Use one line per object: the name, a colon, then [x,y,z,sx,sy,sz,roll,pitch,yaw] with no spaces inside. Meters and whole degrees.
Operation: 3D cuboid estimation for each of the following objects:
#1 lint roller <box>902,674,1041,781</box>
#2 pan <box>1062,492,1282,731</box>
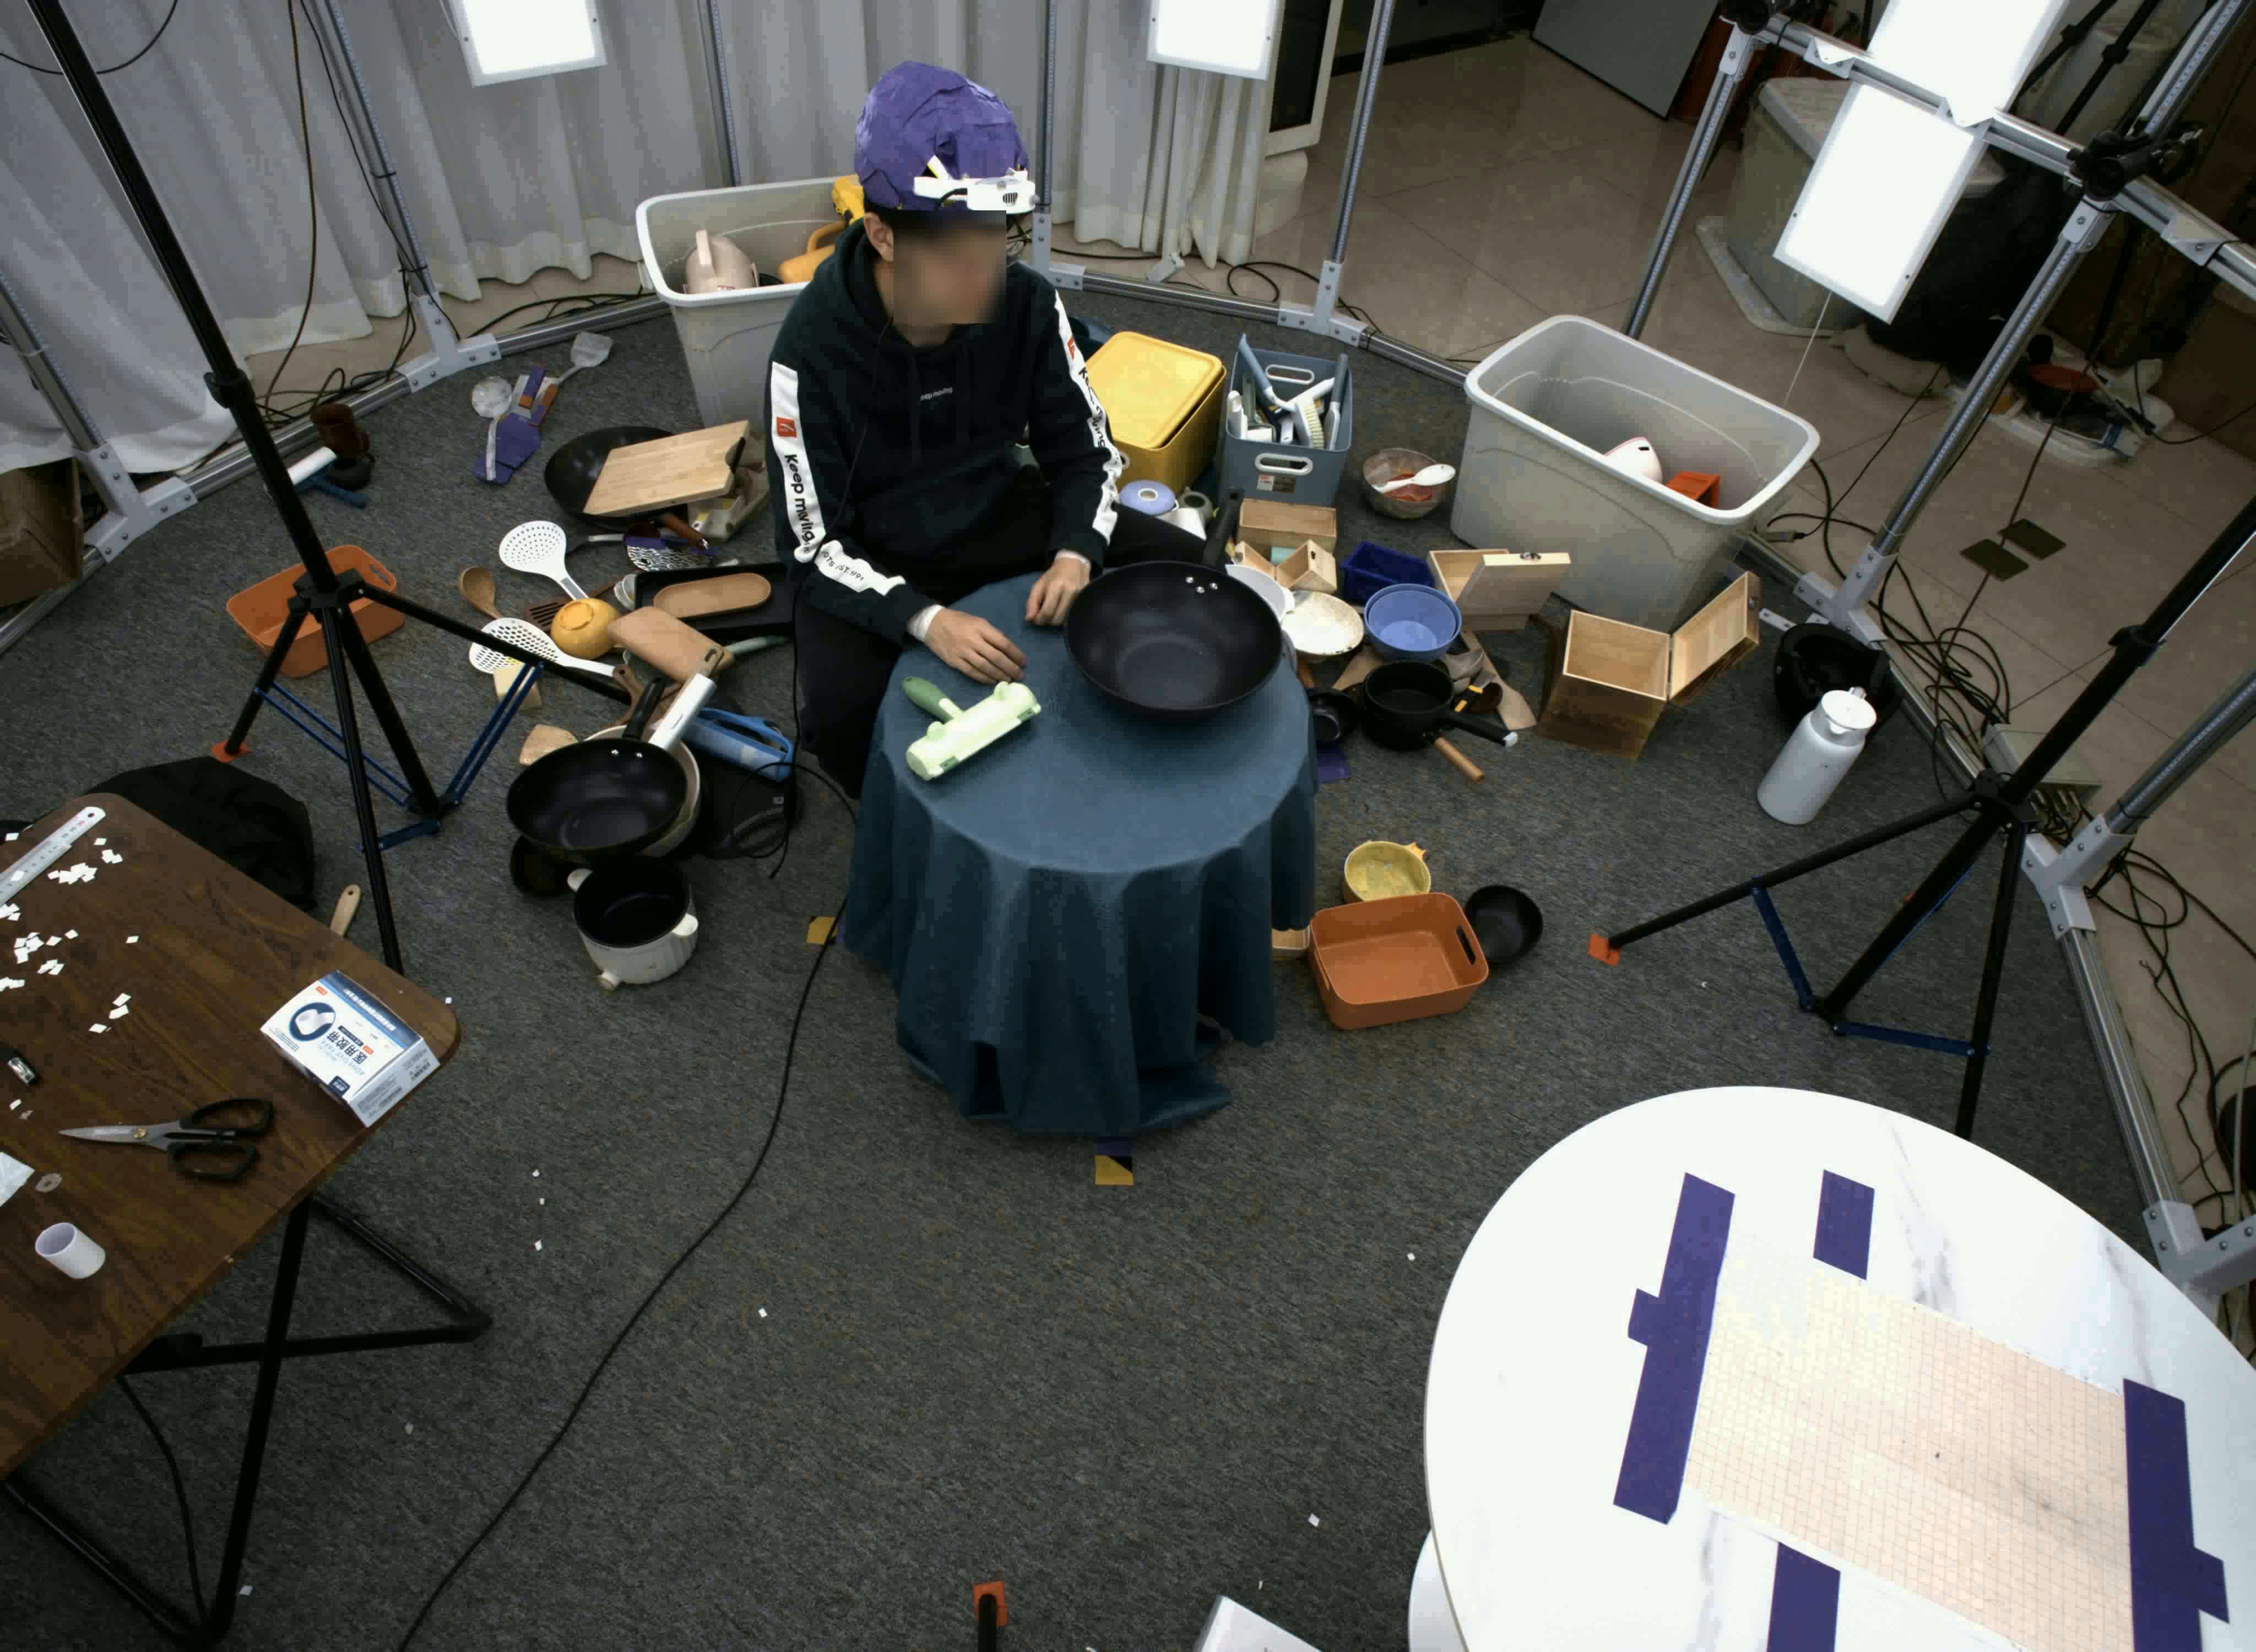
lint roller: [-0.247,-0.168,1.749,0.200,0.080,0.186,-35,65,-28]
pan: [0.088,-0.307,1.872,0.311,0.109,0.487,17,51,9]
